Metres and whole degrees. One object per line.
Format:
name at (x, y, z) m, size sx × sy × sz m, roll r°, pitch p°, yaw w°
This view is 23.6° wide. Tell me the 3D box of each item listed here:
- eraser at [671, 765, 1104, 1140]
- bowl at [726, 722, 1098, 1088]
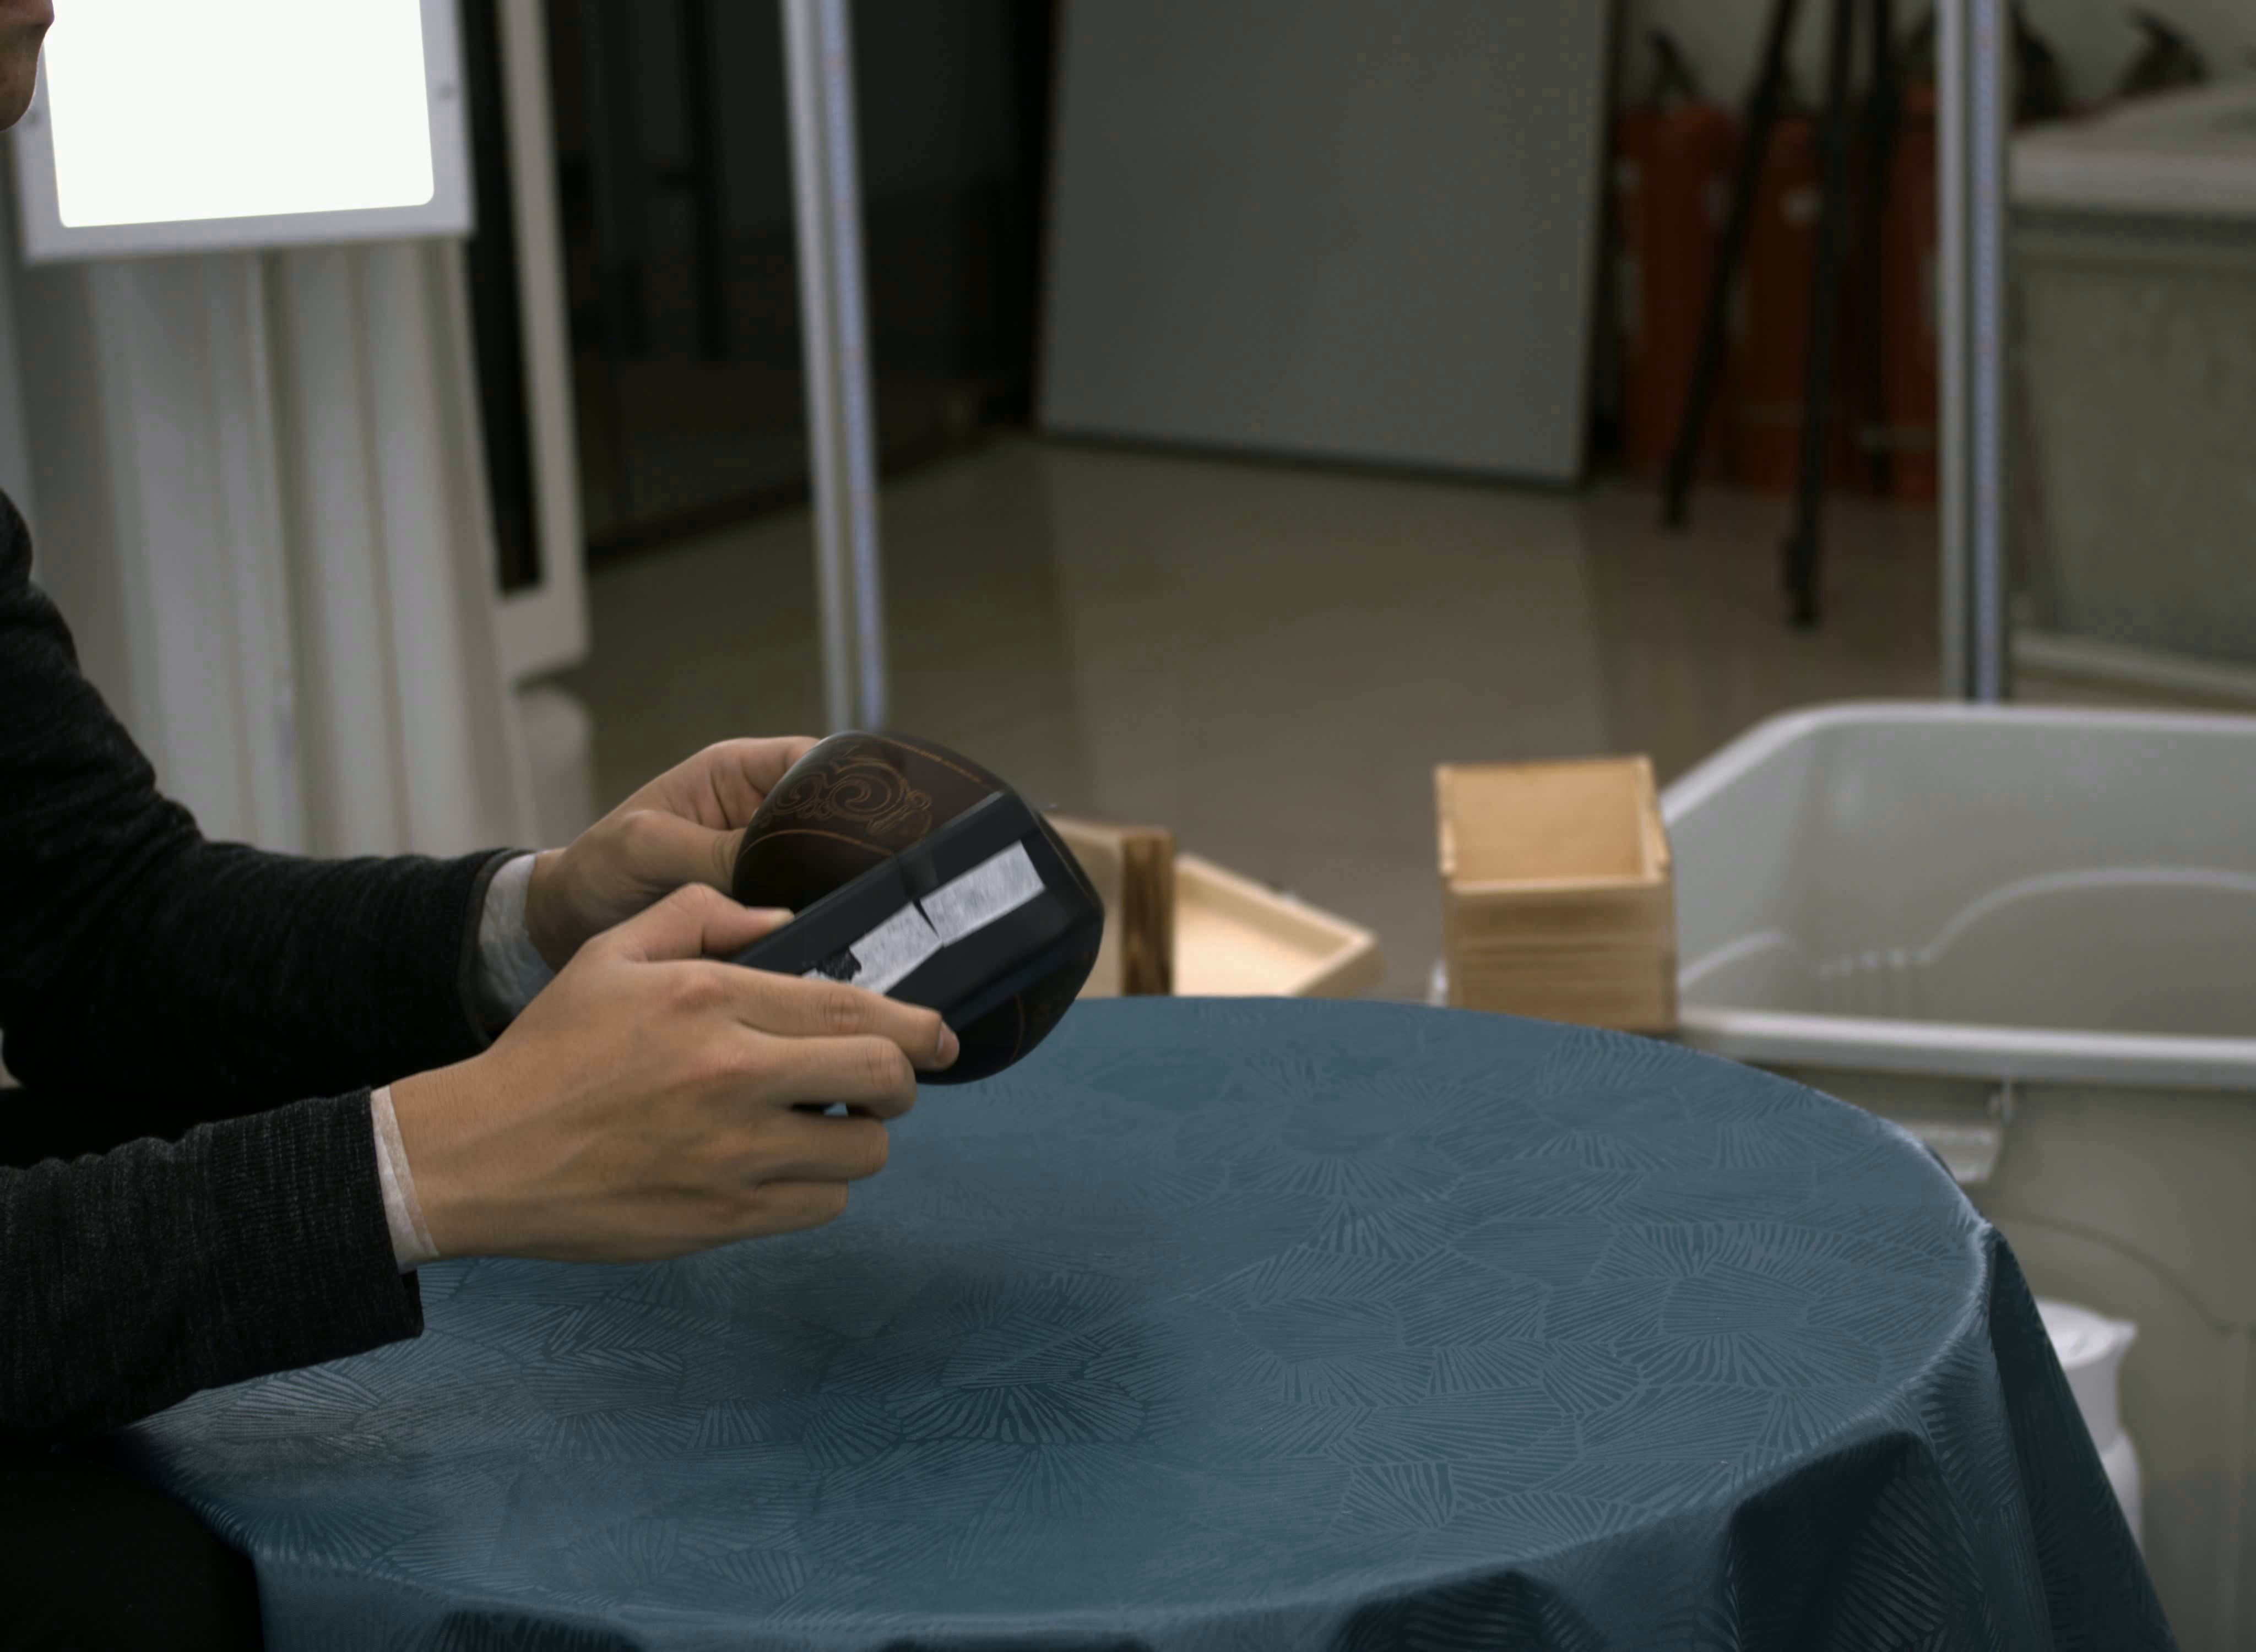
eraser at (-0.071, 0.037, 1.604) m, size 0.124 × 0.054 × 0.030 m, roll -34°, pitch -17°, yaw -14°
bowl at (-0.074, 0.034, 1.677) m, size 0.119 × 0.118 × 0.069 m, roll 6°, pitch 44°, yaw 35°
